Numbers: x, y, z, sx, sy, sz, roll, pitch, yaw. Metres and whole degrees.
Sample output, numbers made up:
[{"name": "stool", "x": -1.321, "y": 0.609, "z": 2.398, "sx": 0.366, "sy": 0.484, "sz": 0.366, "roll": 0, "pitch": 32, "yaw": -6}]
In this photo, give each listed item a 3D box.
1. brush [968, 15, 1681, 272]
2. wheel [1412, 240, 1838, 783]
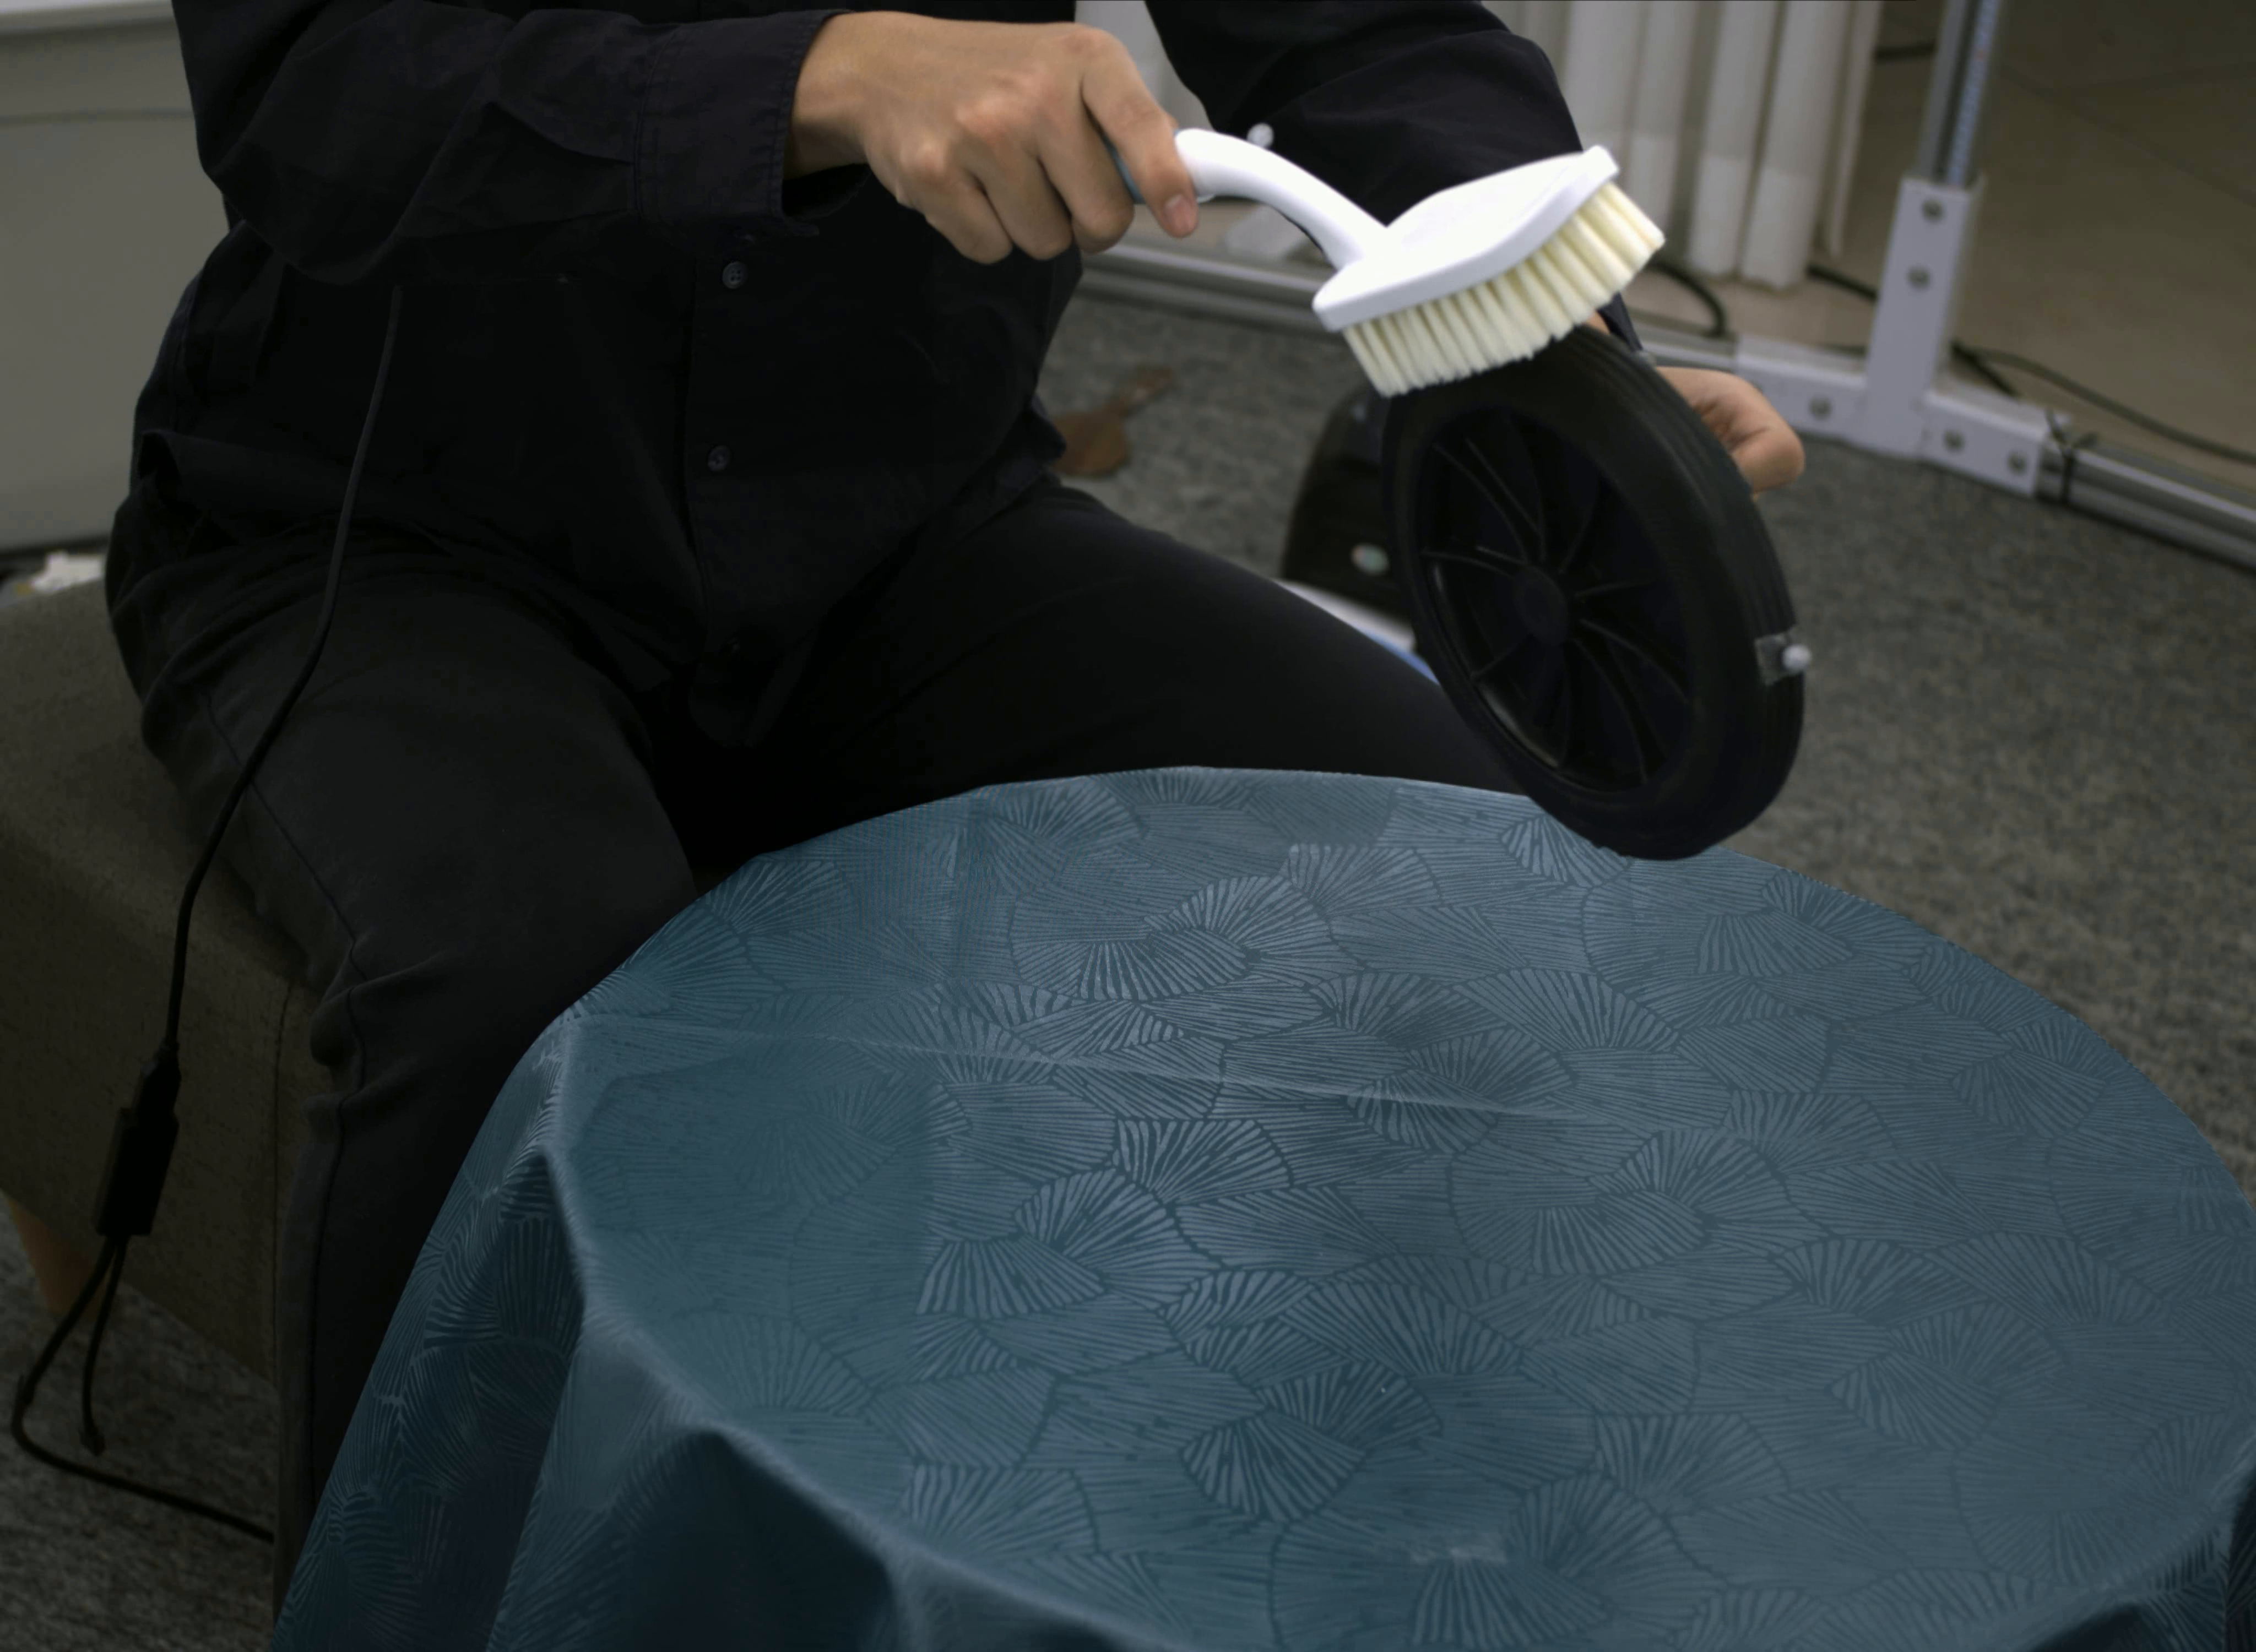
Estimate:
[{"name": "brush", "x": 0.066, "y": -0.226, "z": 1.775, "sx": 0.082, "sy": 0.085, "sz": 0.327, "roll": 0, "pitch": 4, "yaw": -39}, {"name": "wheel", "x": 0.179, "y": -0.112, "z": 1.768, "sx": 0.079, "sy": 0.186, "sz": 0.191, "roll": -28, "pitch": 61, "yaw": -28}]
